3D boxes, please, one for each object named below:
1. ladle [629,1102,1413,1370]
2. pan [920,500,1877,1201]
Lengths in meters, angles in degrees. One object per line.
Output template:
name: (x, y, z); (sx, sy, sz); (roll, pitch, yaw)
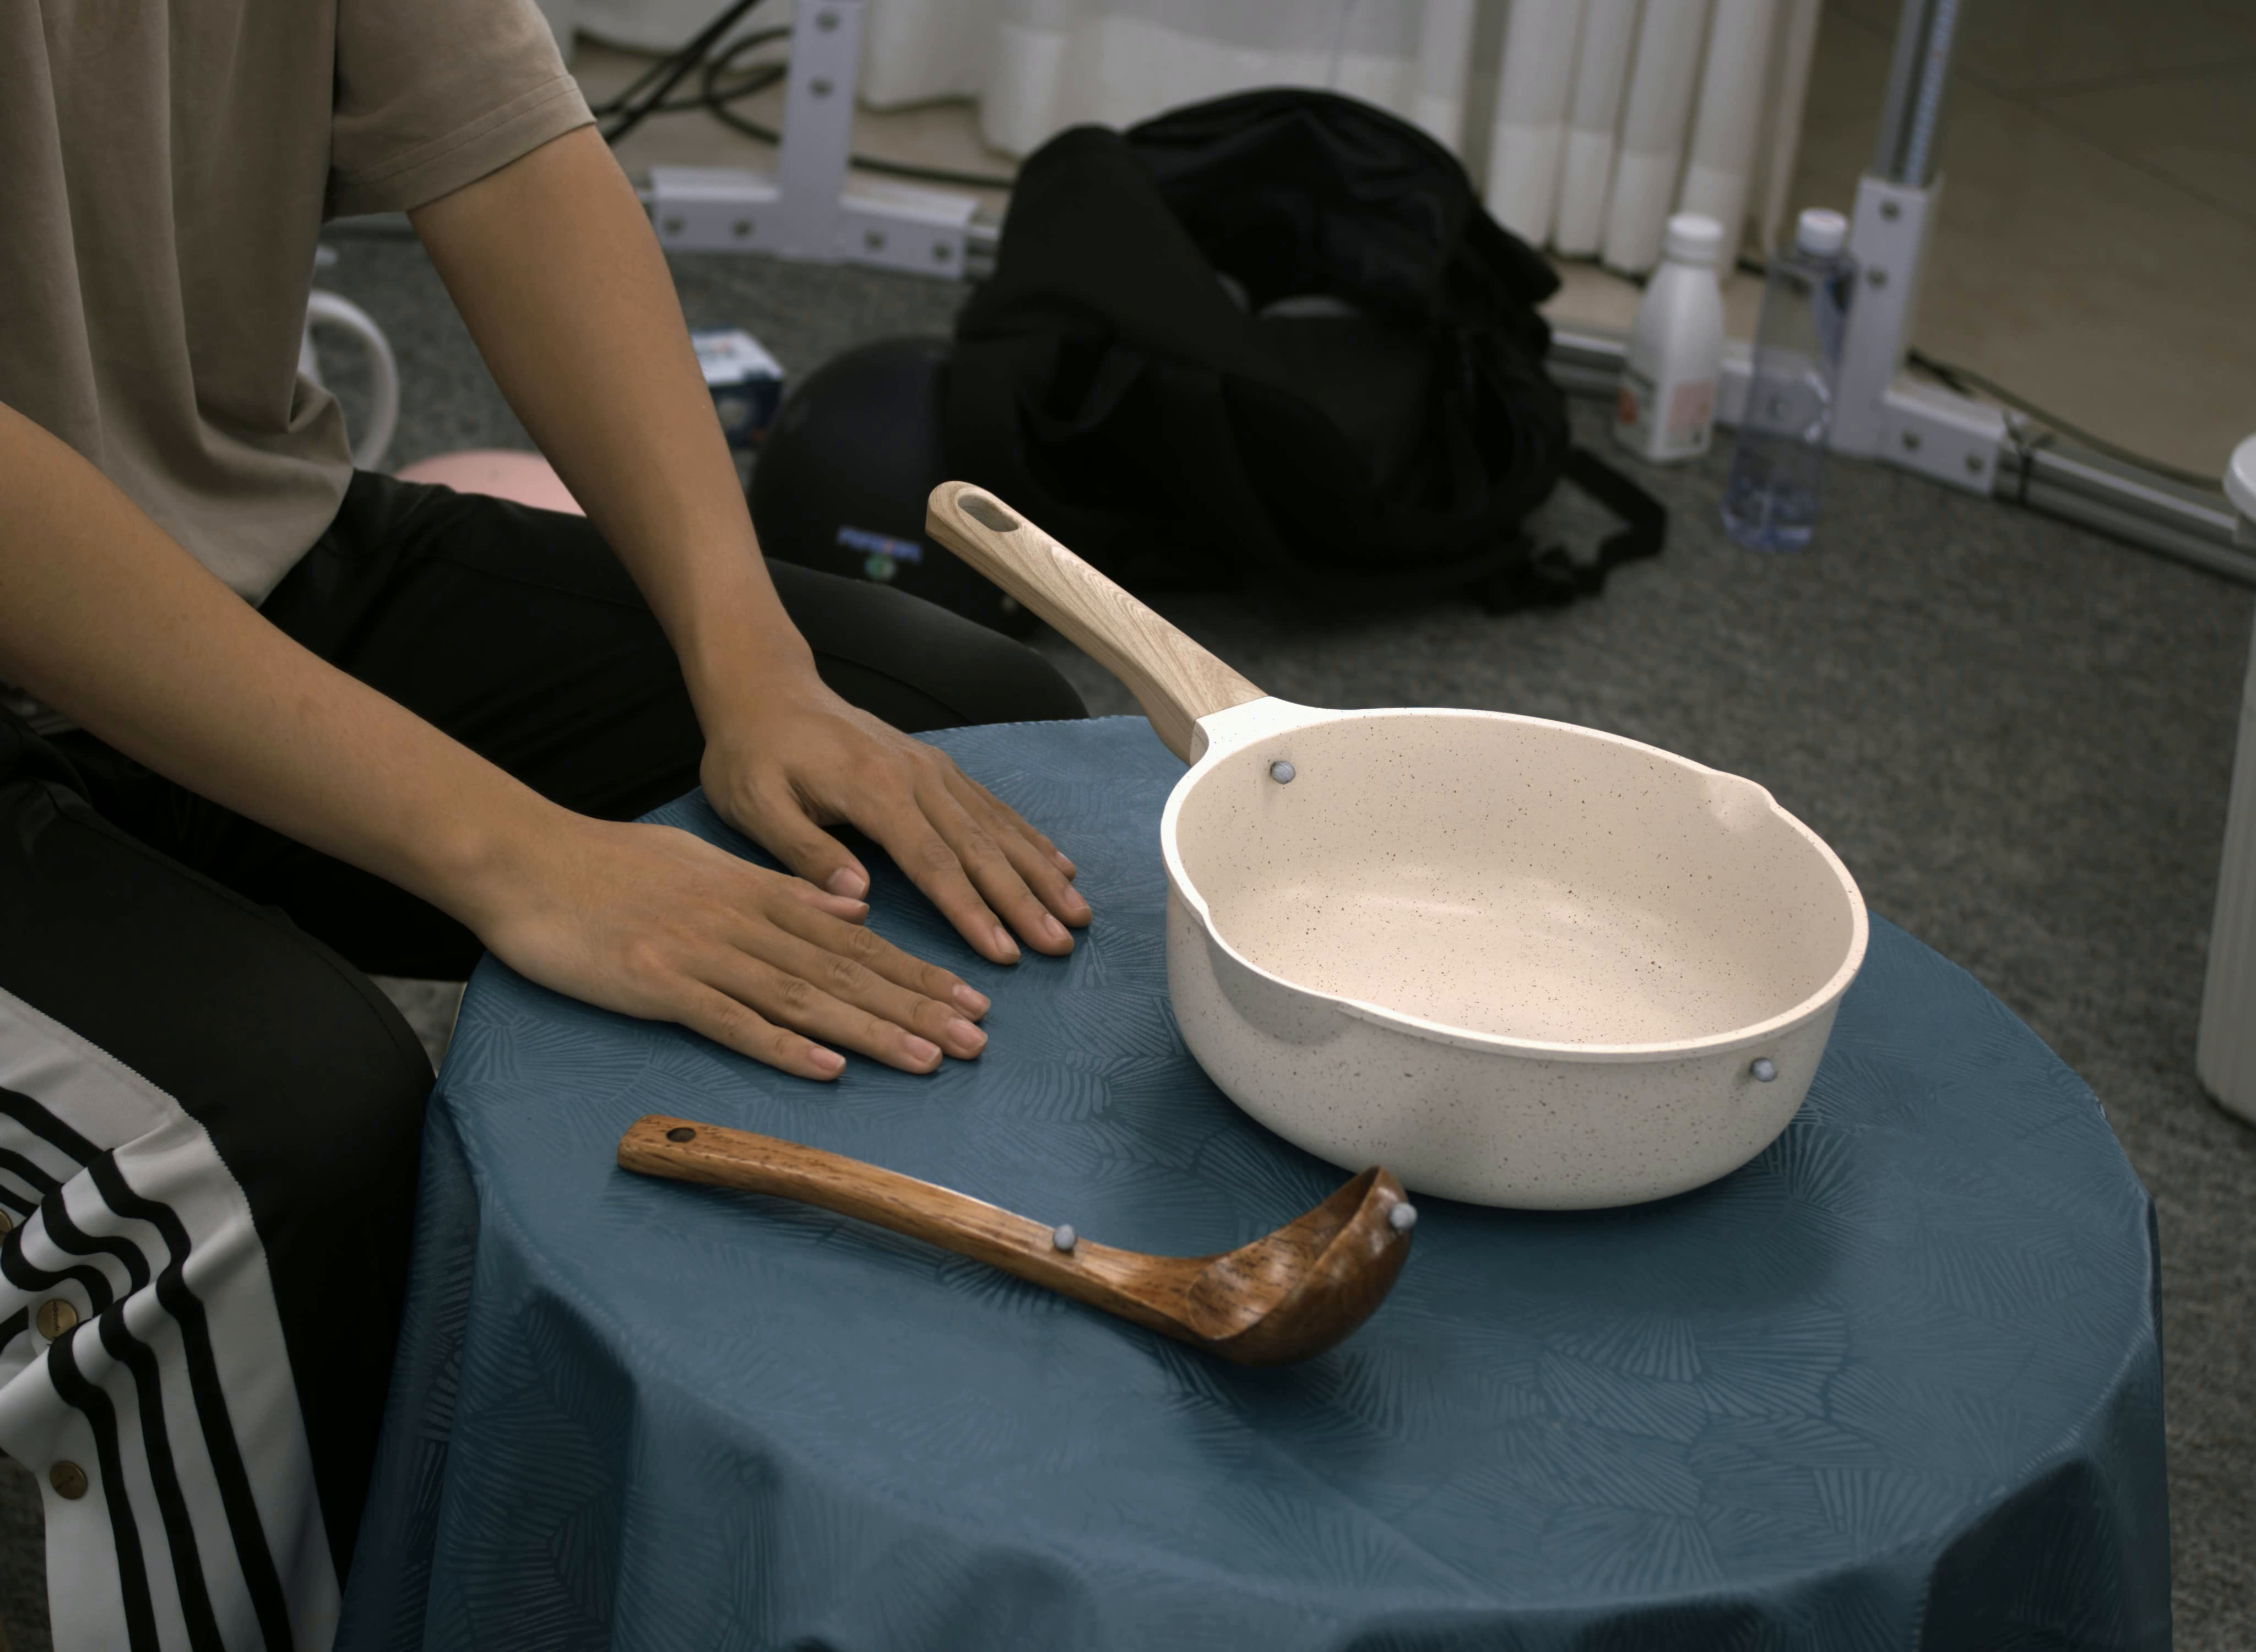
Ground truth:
ladle: (-0.039, 0.113, 1.730); (0.275, 0.076, 0.082); (17, 30, 18)
pan: (0.073, 0.004, 1.945); (0.262, 0.101, 0.438); (-20, 37, -39)
